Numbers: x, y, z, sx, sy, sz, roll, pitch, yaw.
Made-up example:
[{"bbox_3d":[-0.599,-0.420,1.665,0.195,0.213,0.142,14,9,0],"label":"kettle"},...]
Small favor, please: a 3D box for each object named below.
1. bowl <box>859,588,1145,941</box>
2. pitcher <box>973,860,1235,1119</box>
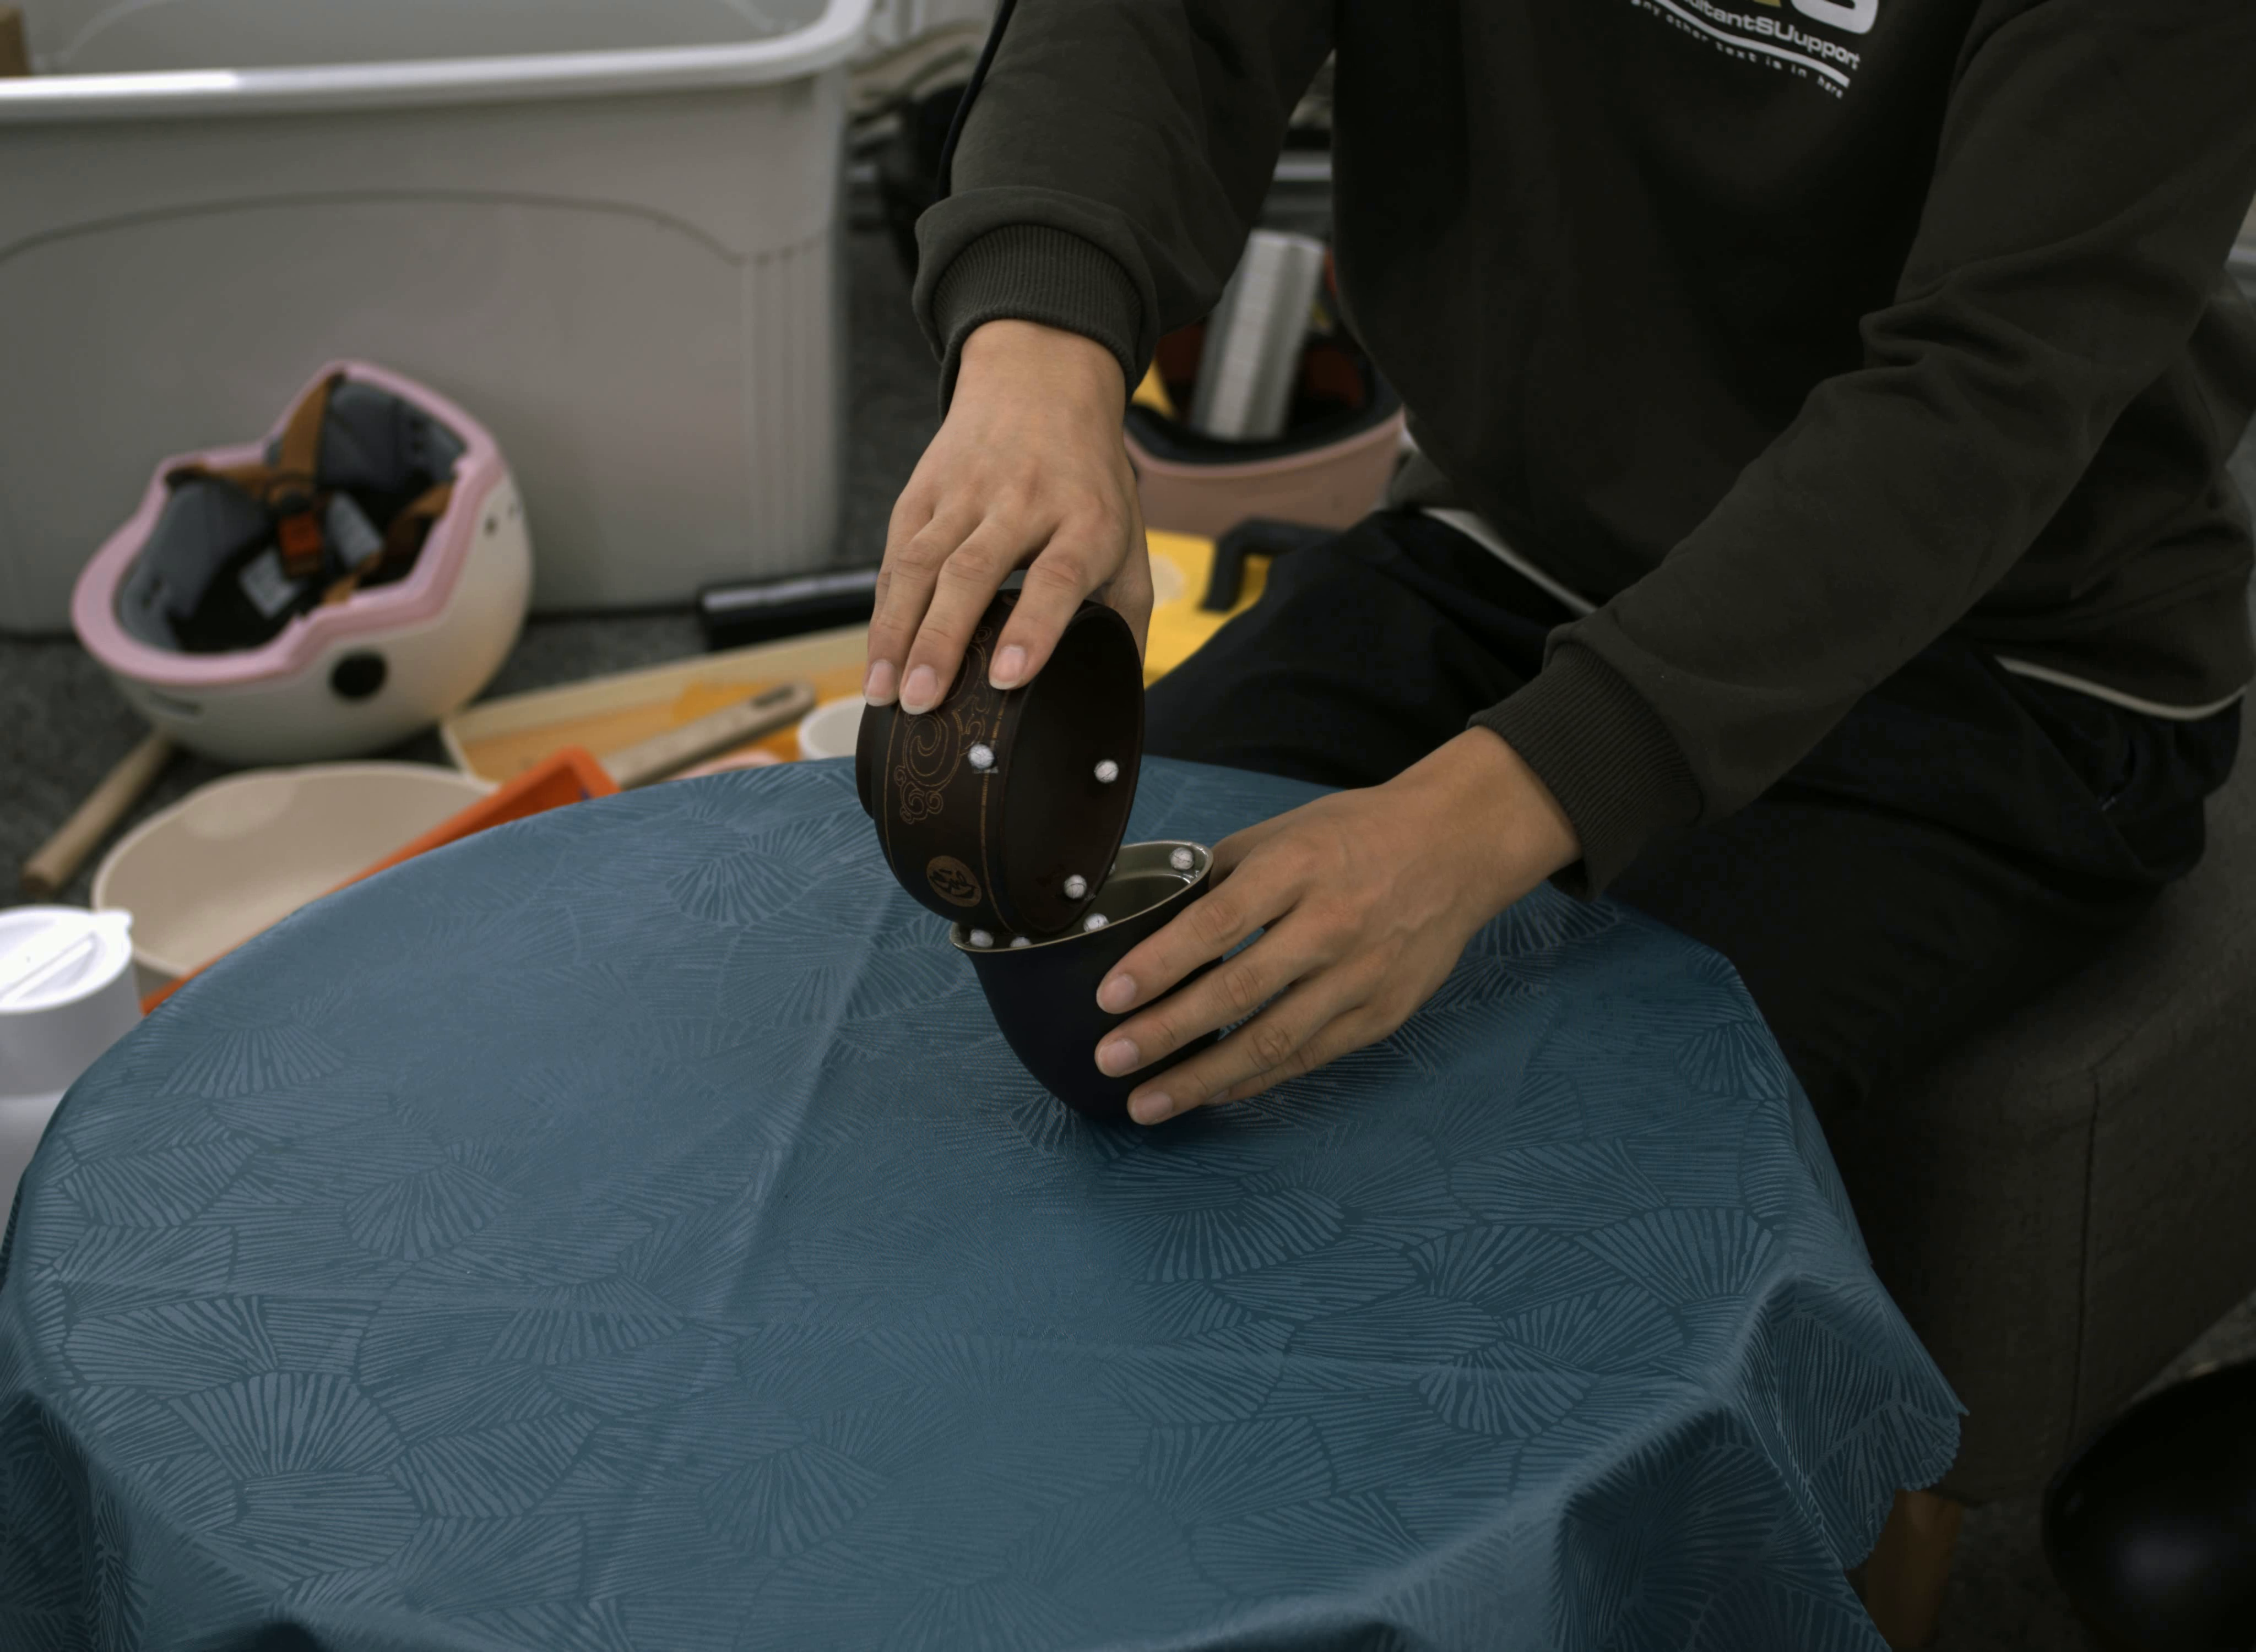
[{"bbox_3d":[-0.048,-0.023,1.891,0.069,0.117,0.120,8,29,21],"label":"bowl"},{"bbox_3d":[-0.006,0.057,1.903,0.095,0.071,0.085,-5,22,47],"label":"pitcher"}]
